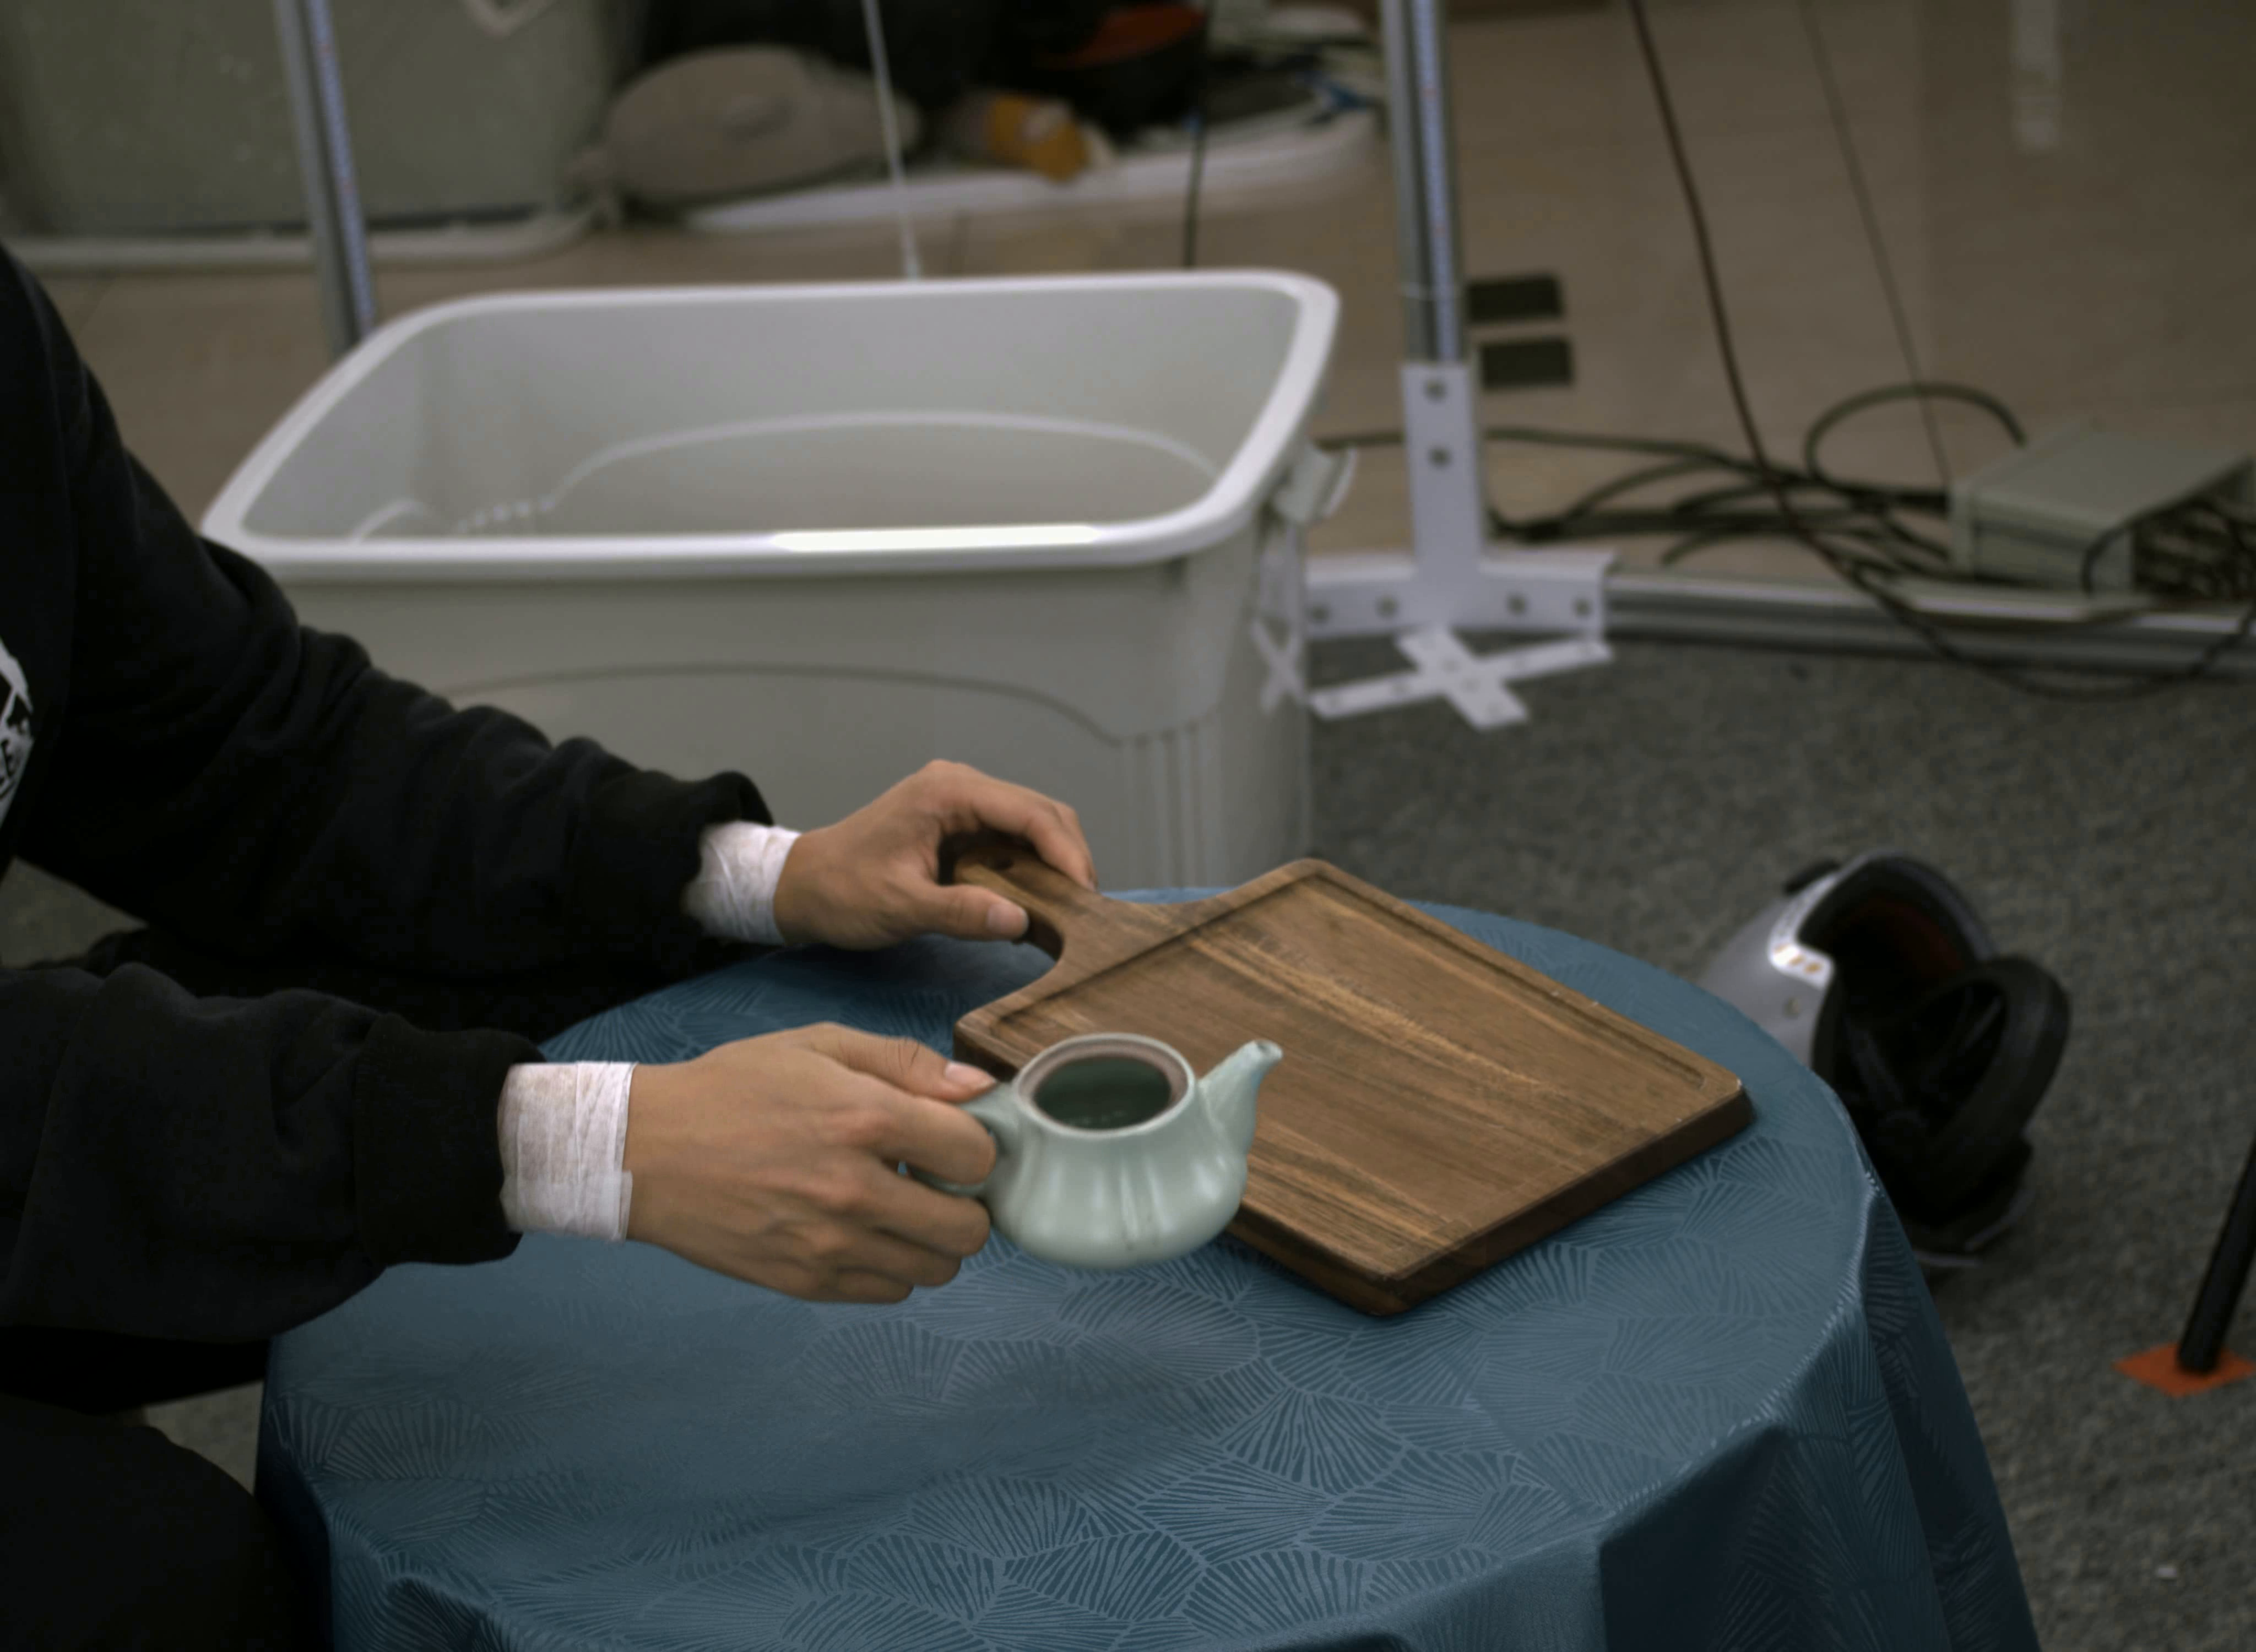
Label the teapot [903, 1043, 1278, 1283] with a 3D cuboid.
[{"bbox_3d":[-0.012,0.116,1.984,0.136,0.062,0.094,-10,36,-13],"label":"teapot"}]

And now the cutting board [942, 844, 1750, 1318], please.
[{"bbox_3d":[0.050,0.078,2.201,0.199,0.023,0.348,-25,37,-35],"label":"cutting board"}]
